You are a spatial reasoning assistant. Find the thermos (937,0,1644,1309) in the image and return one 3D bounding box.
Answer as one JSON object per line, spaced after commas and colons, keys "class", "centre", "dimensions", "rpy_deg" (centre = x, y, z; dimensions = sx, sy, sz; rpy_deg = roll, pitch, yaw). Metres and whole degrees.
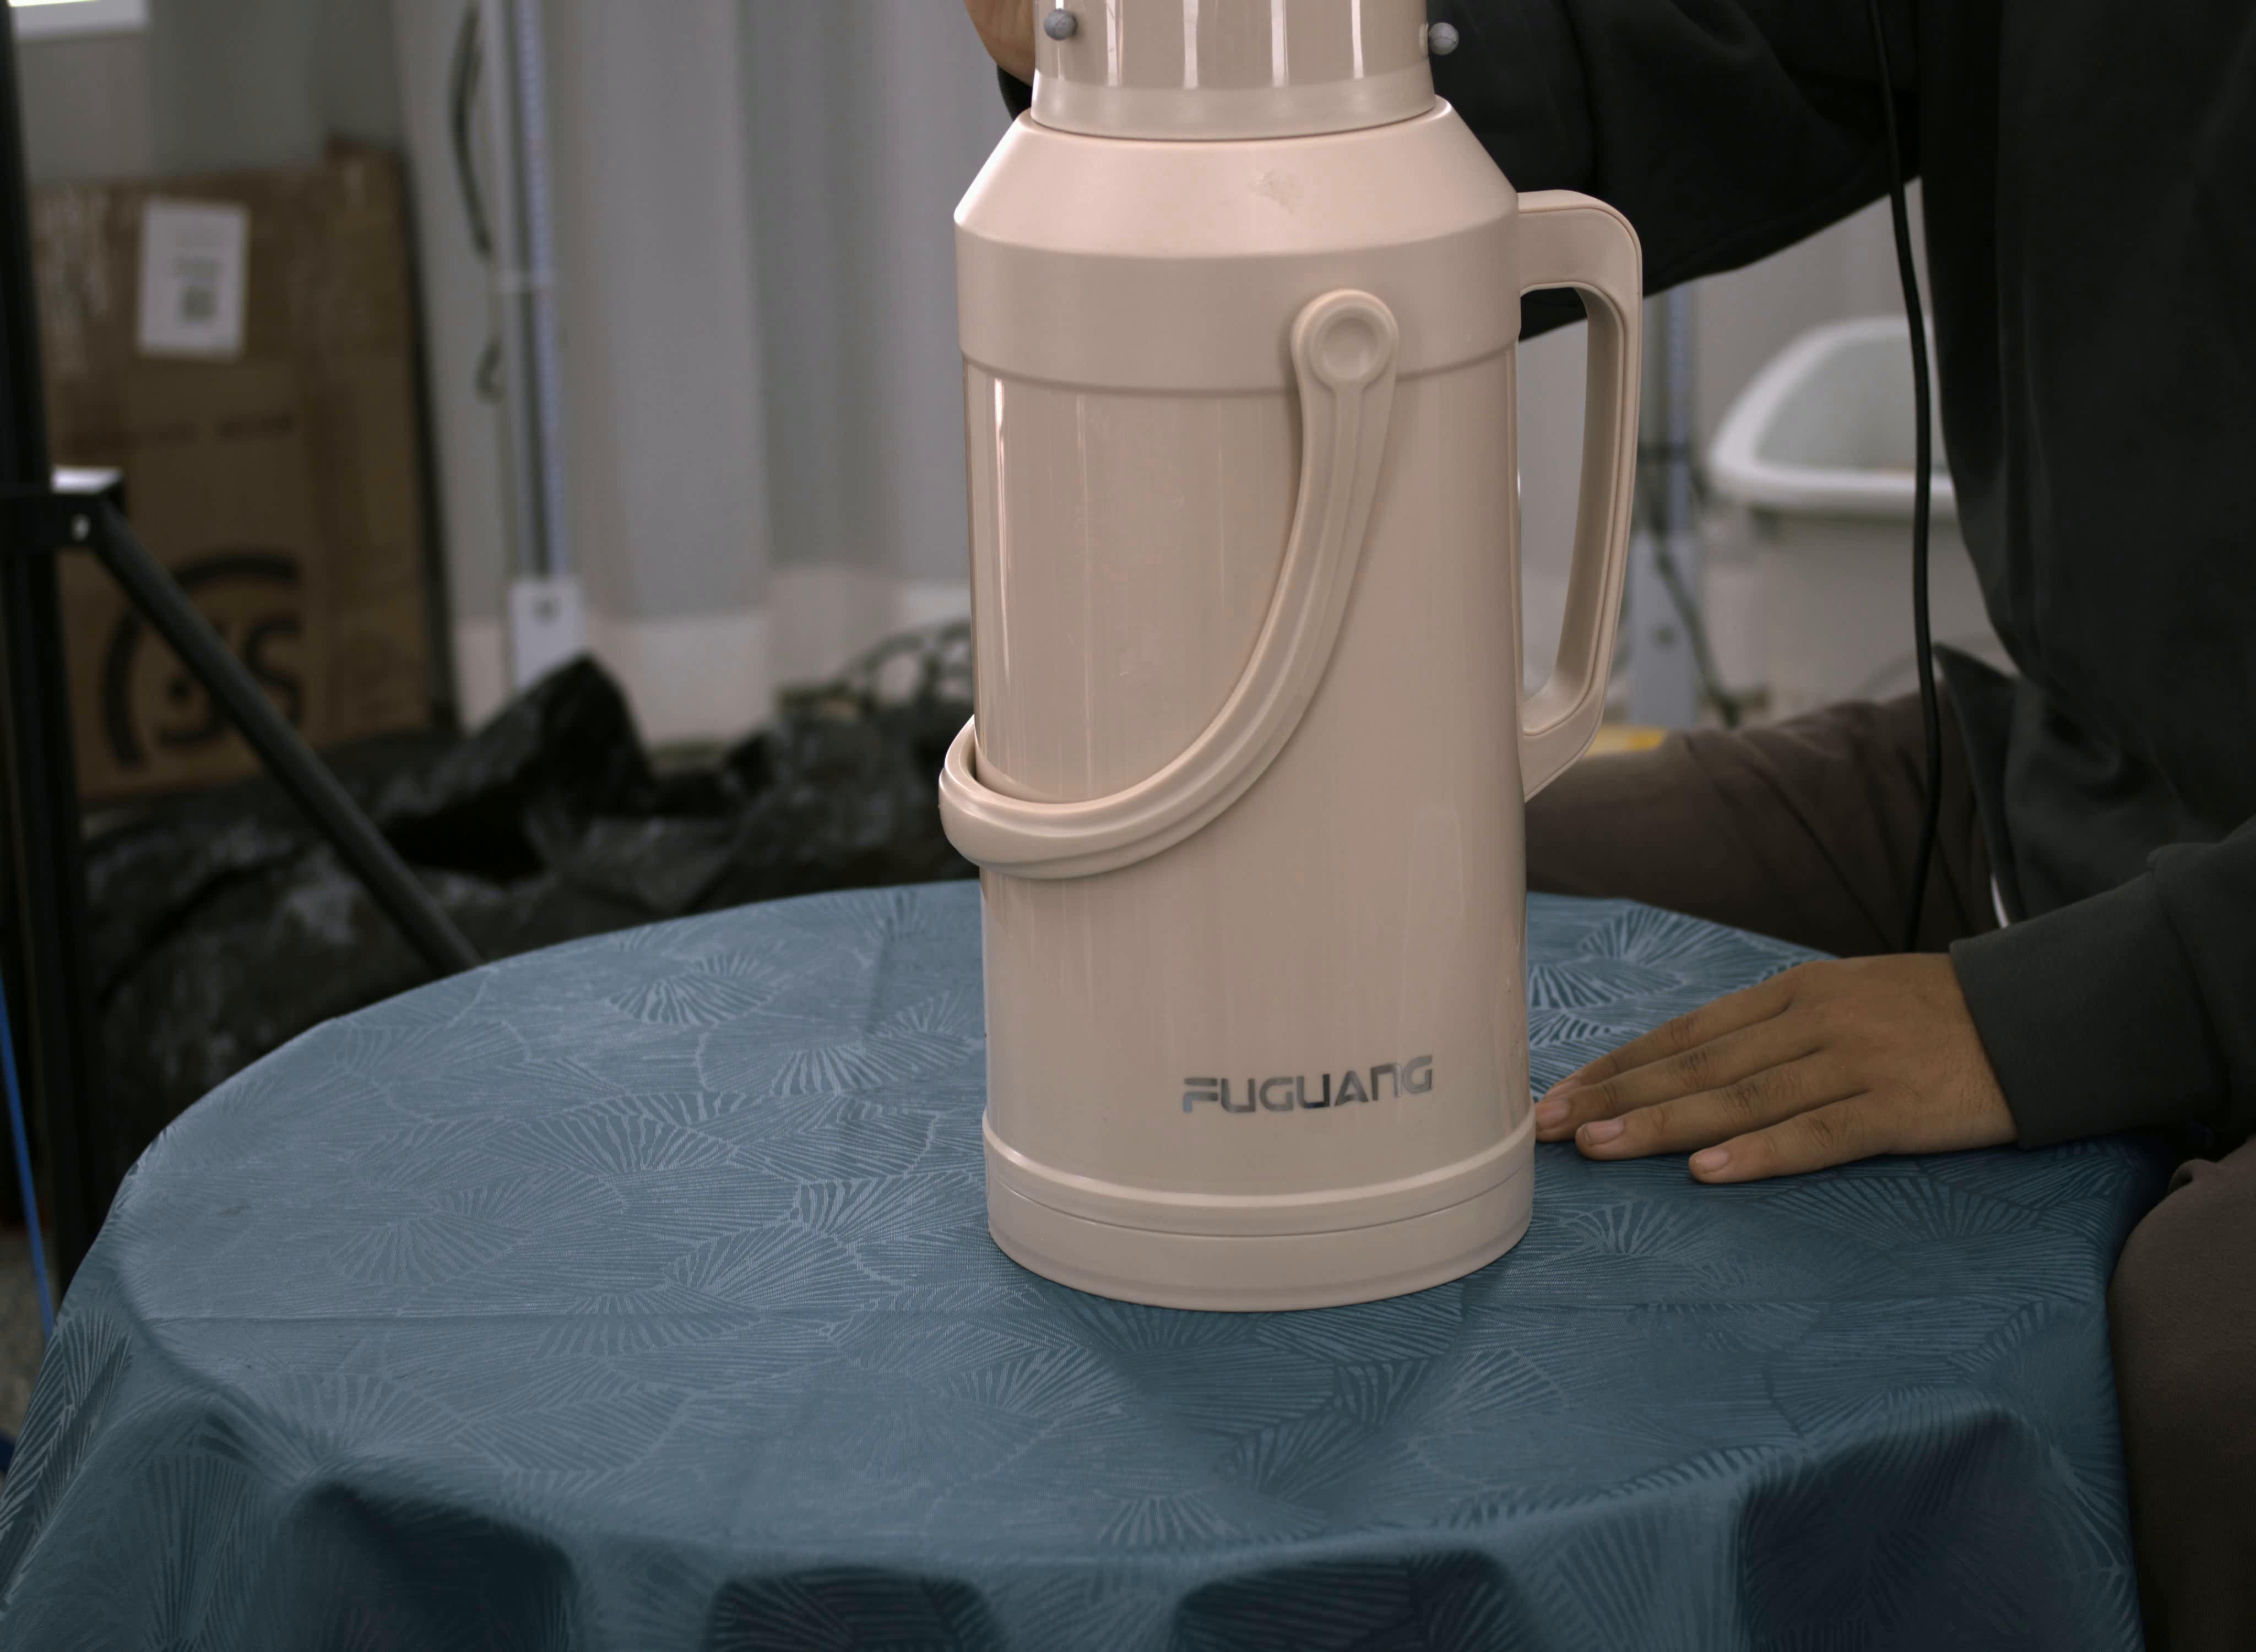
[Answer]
{"class": "thermos", "centre": [0.046, -0.080, 1.489], "dimensions": [0.203, 0.406, 0.178], "rpy_deg": [-7, 16, -17]}
